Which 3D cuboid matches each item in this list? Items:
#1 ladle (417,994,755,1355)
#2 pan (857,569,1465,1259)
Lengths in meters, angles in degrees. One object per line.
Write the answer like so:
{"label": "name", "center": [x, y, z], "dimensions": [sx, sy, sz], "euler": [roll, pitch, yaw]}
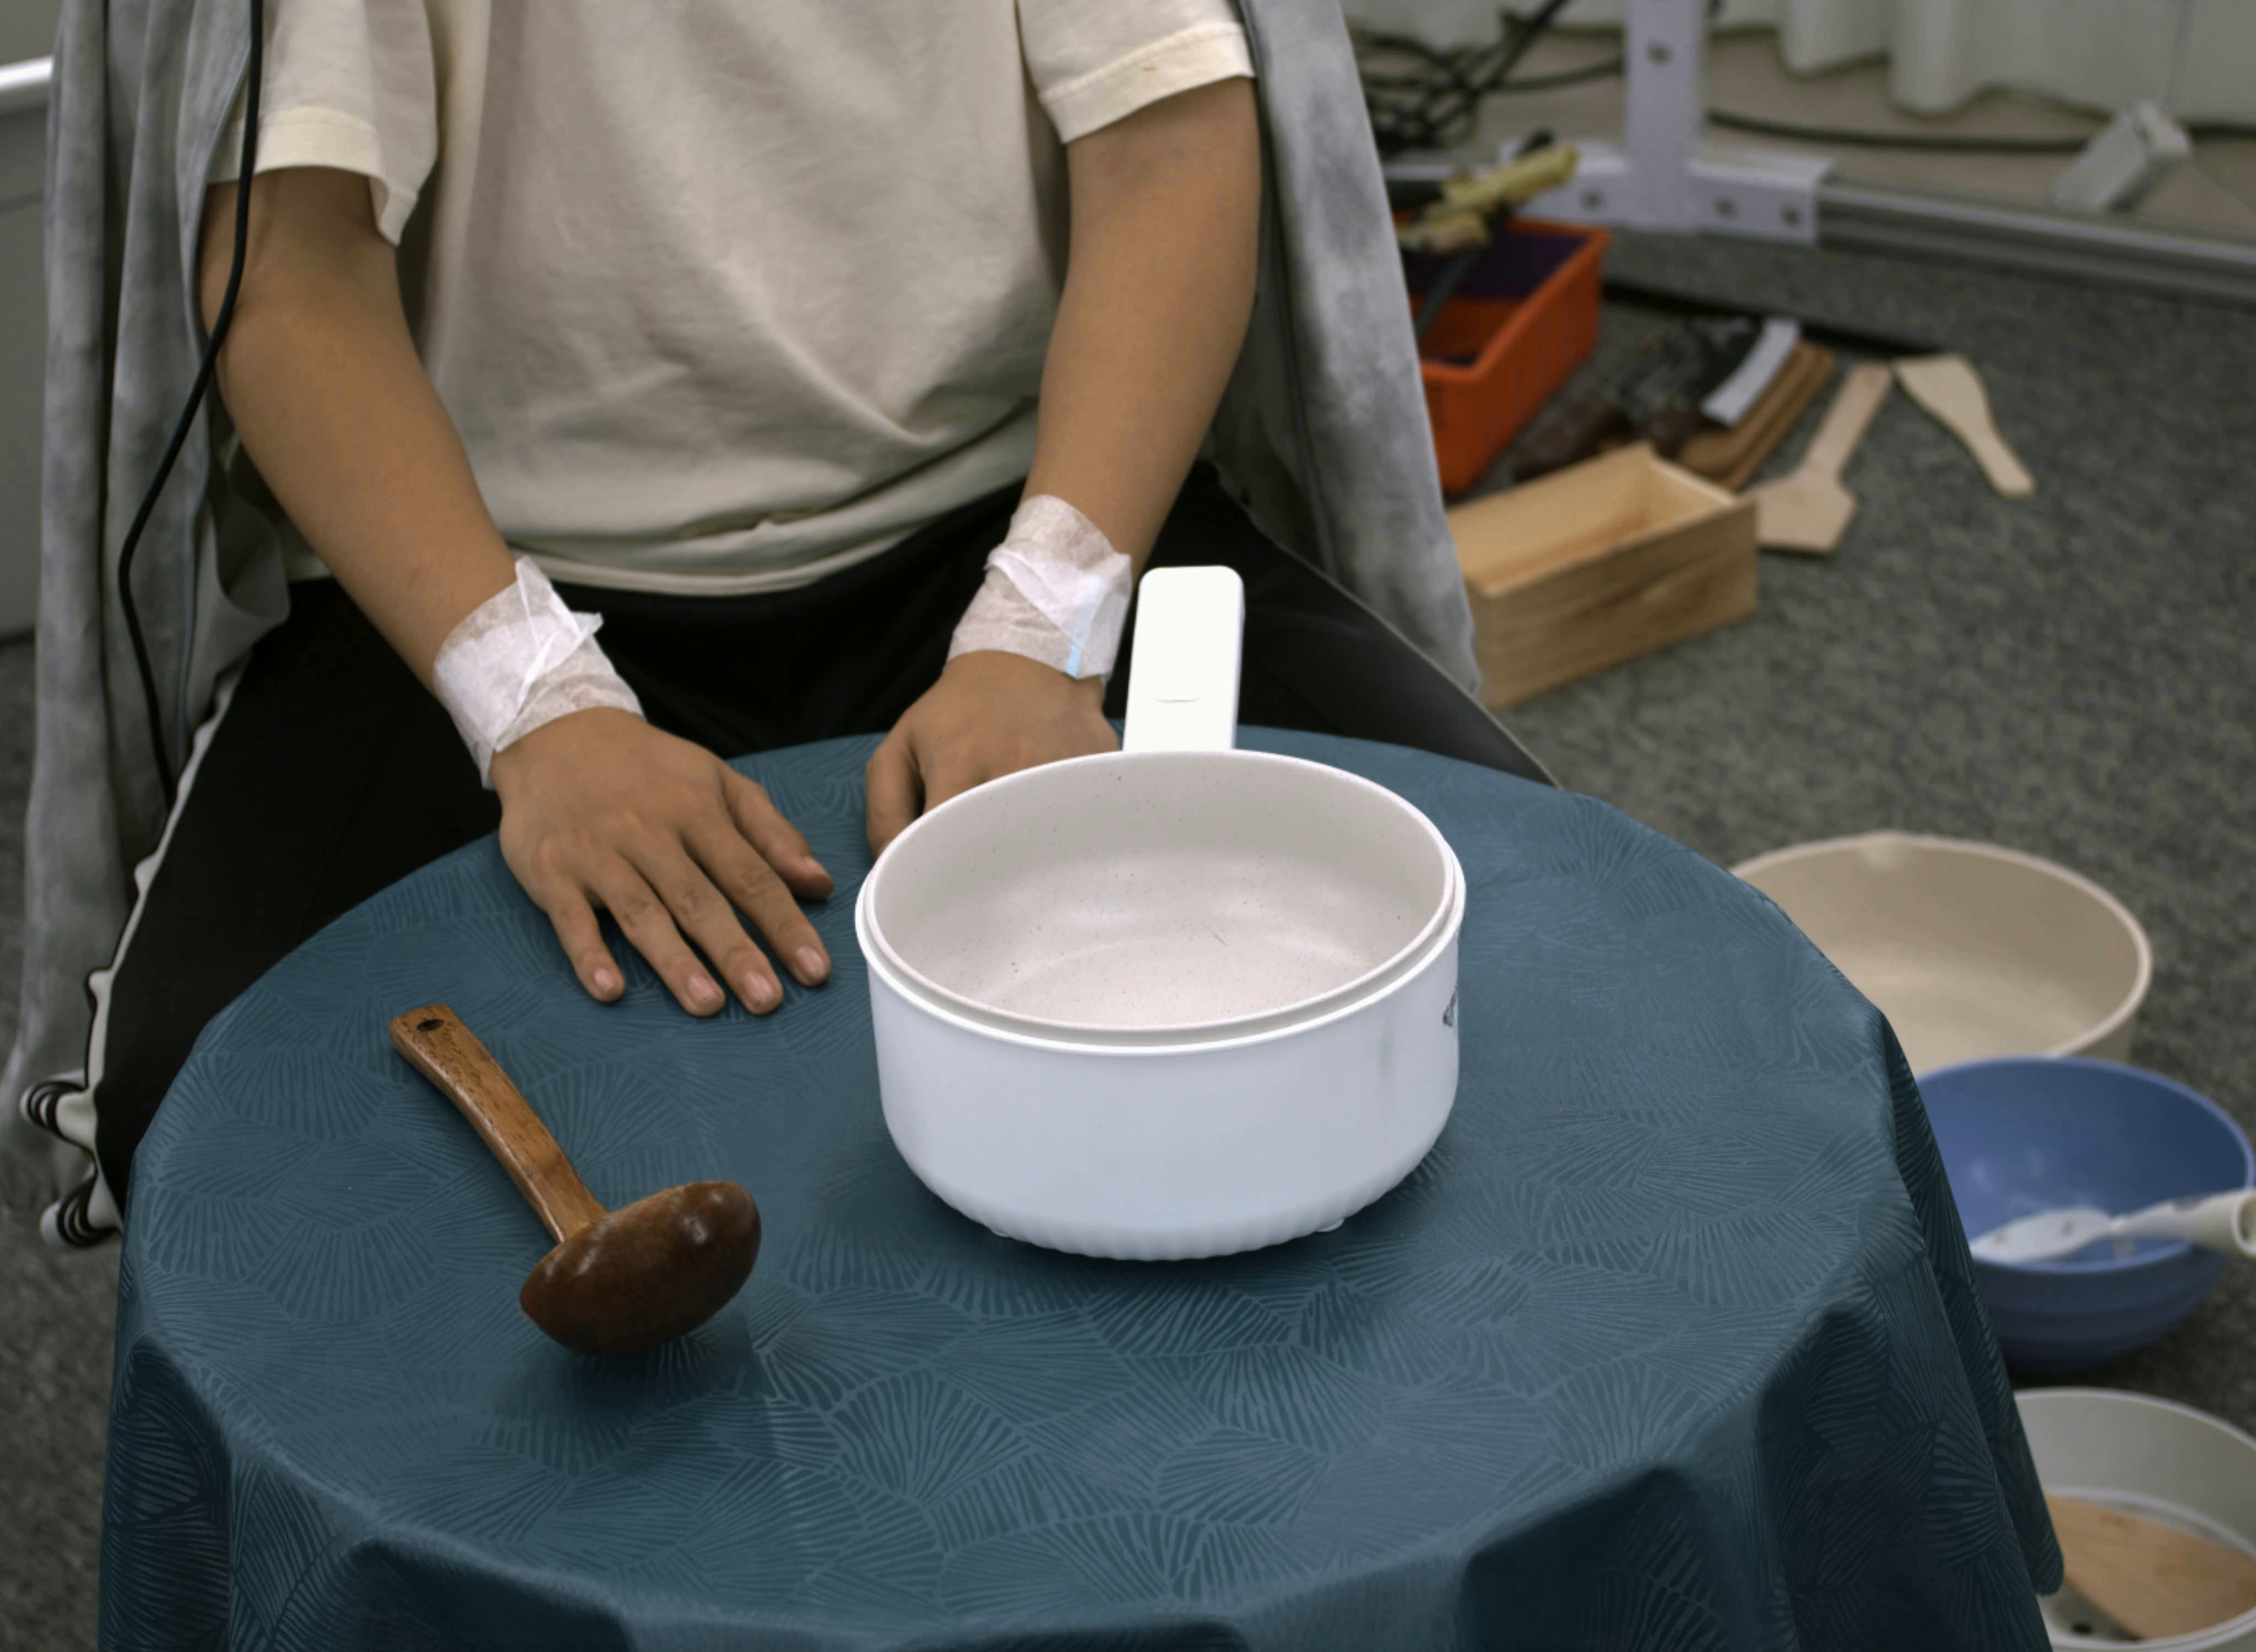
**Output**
{"label": "ladle", "center": [-0.195, 0.095, 1.846], "dimensions": [0.082, 0.076, 0.276], "euler": [-13, 30, -18]}
{"label": "pan", "center": [0.018, 0.027, 1.935], "dimensions": [0.200, 0.101, 0.360], "euler": [-2, 26, 5]}
